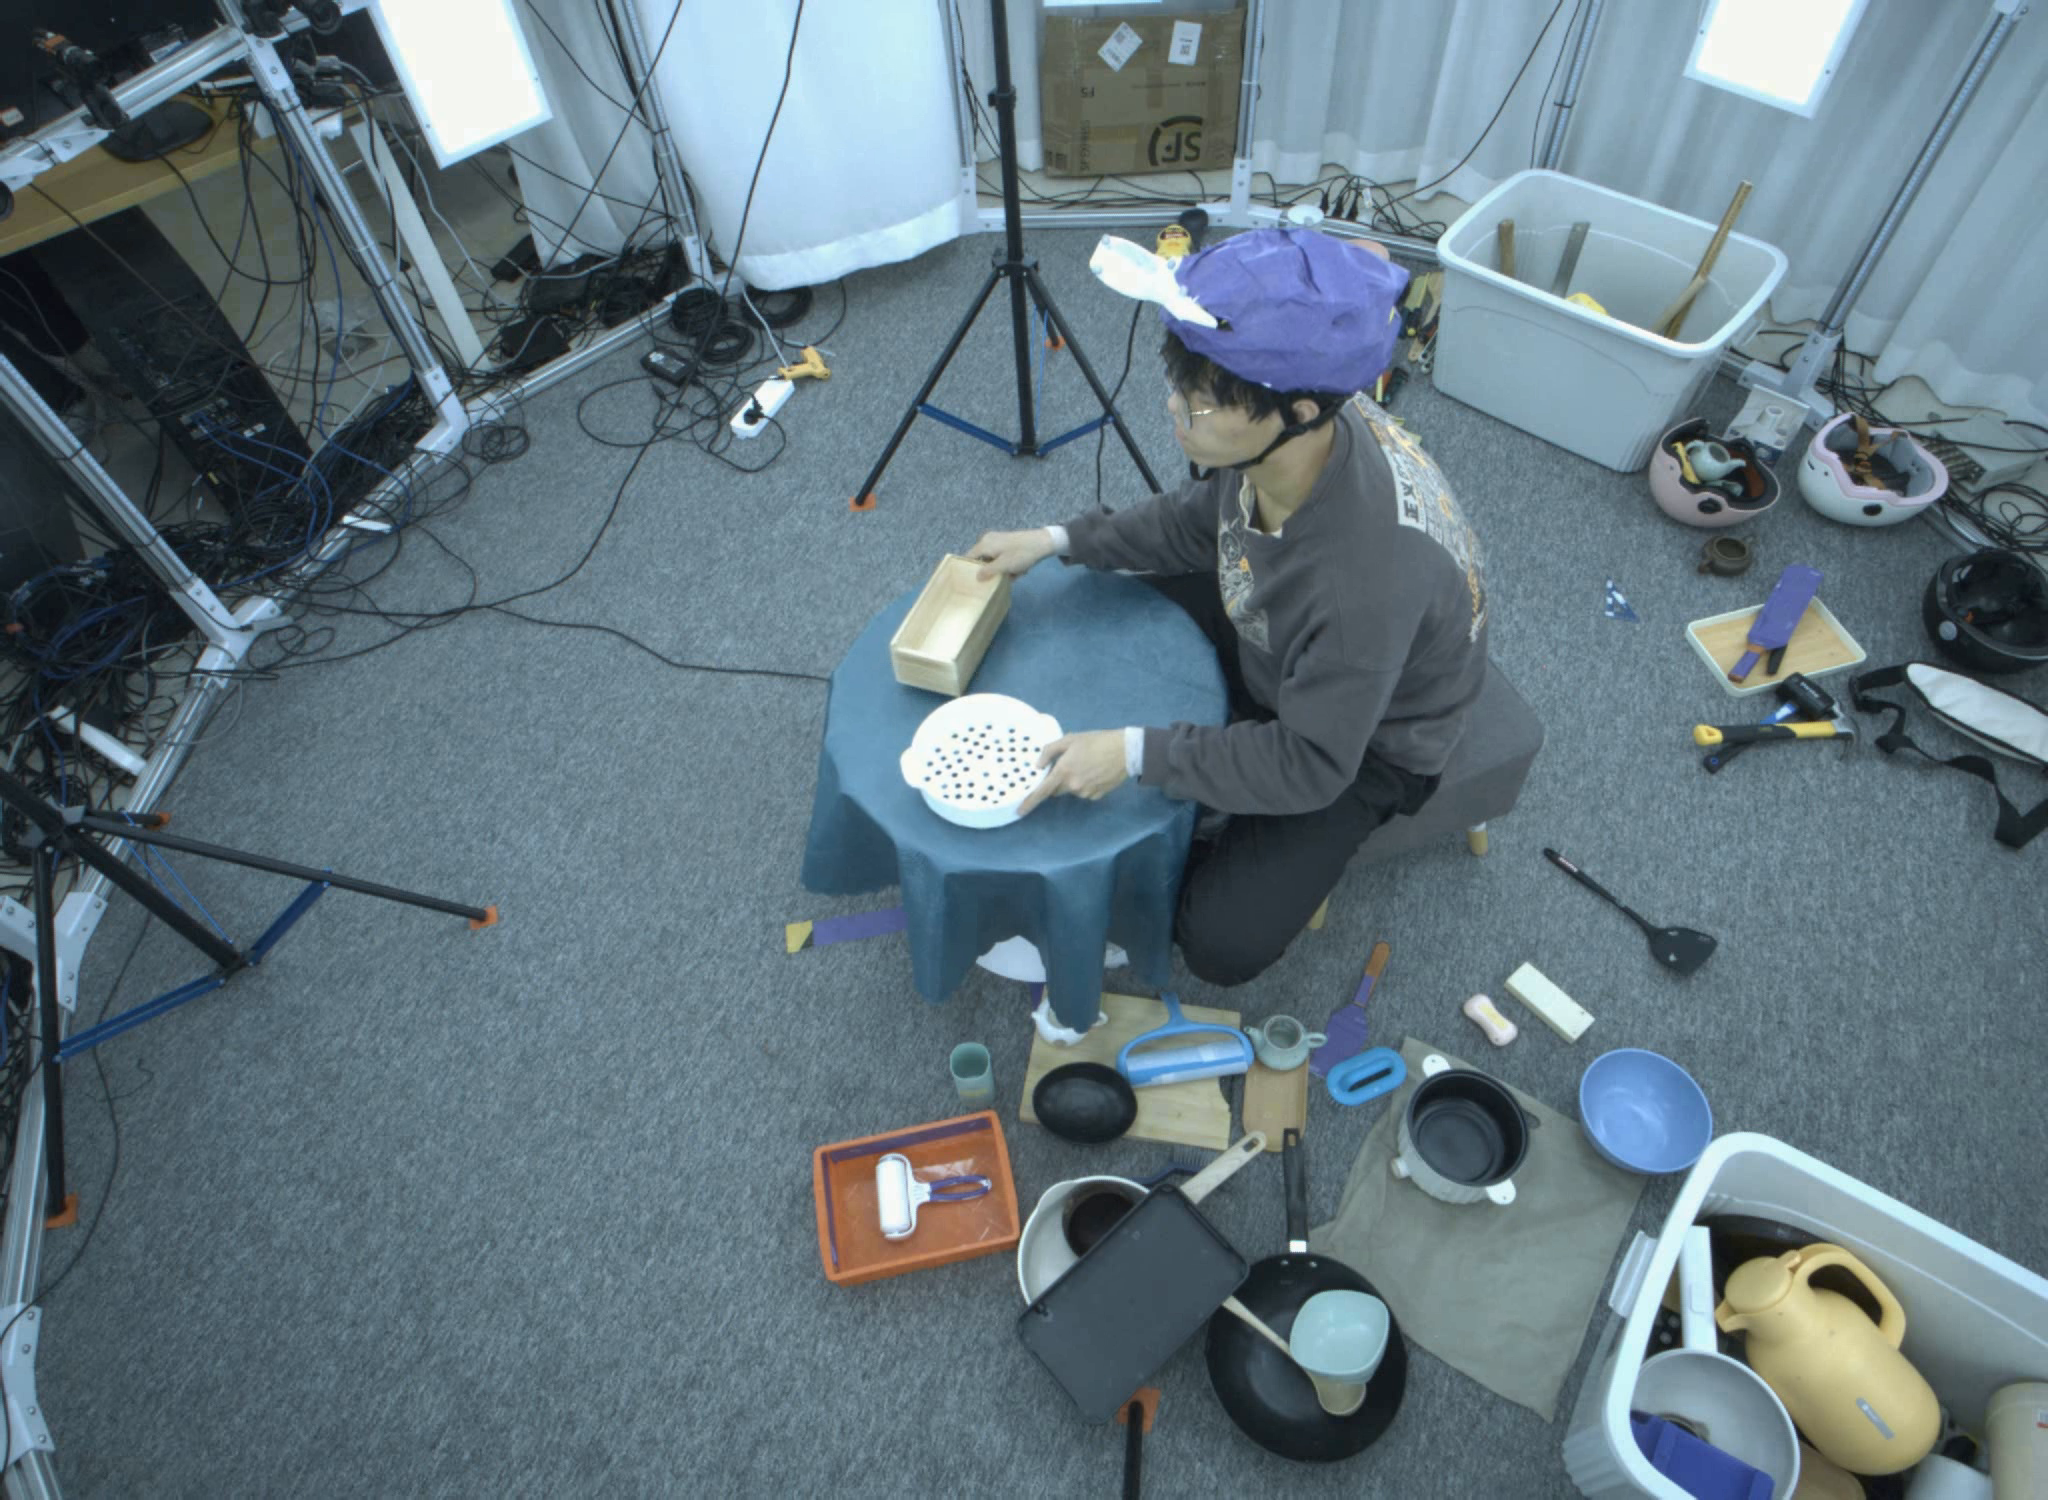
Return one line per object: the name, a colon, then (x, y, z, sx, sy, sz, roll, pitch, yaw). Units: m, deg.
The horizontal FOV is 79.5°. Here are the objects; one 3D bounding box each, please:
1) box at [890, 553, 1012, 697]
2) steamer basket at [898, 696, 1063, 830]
box: (-0.107, -0.192, 1.859, 0.106, 0.081, 0.211, 16, 54, 14)
steamer basket: (-0.060, 0.020, 1.734, 0.232, 0.070, 0.198, -13, 54, -10)
